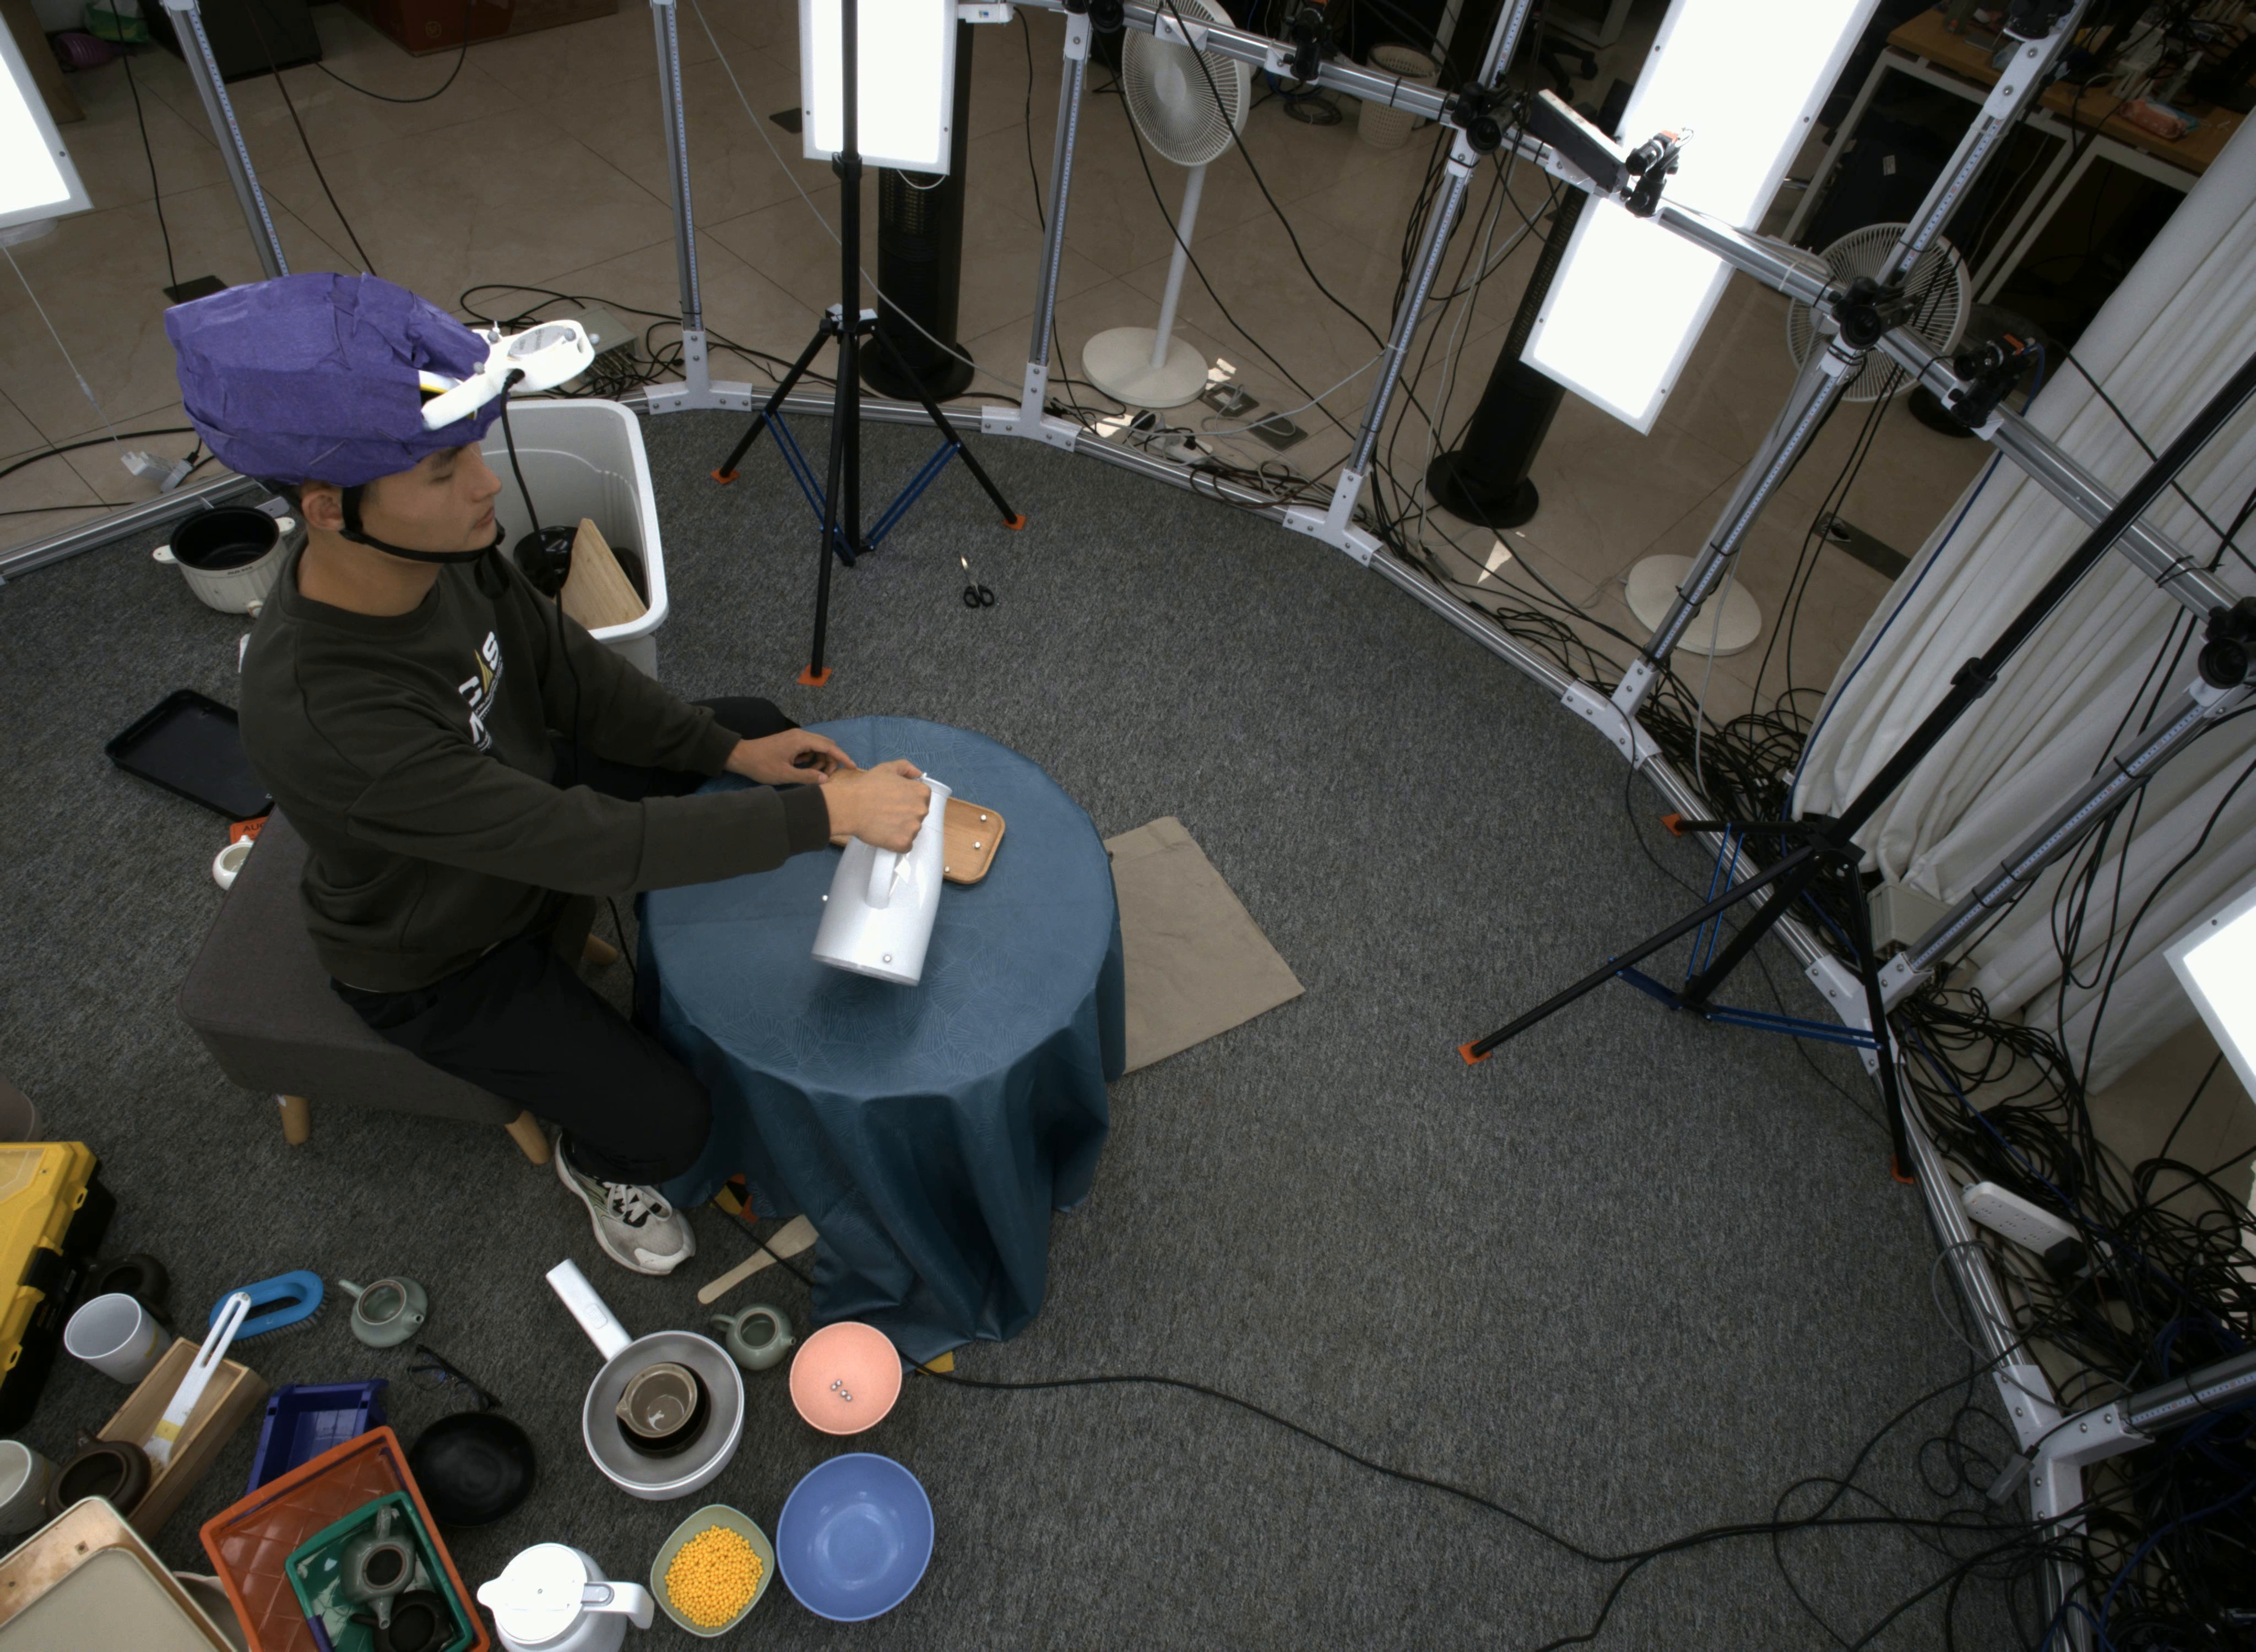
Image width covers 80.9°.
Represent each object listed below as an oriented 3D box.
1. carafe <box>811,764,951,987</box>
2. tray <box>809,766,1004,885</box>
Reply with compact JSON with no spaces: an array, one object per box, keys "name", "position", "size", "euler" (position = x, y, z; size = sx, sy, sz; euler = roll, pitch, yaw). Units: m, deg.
[{"name":"carafe","position":[-0.284,0.052,1.556],"size":[0.132,0.167,0.249],"euler":[15,81,-5]},{"name":"tray","position":[-0.298,-0.002,1.757],"size":[0.248,0.023,0.129],"euler":[18,49,2]}]
